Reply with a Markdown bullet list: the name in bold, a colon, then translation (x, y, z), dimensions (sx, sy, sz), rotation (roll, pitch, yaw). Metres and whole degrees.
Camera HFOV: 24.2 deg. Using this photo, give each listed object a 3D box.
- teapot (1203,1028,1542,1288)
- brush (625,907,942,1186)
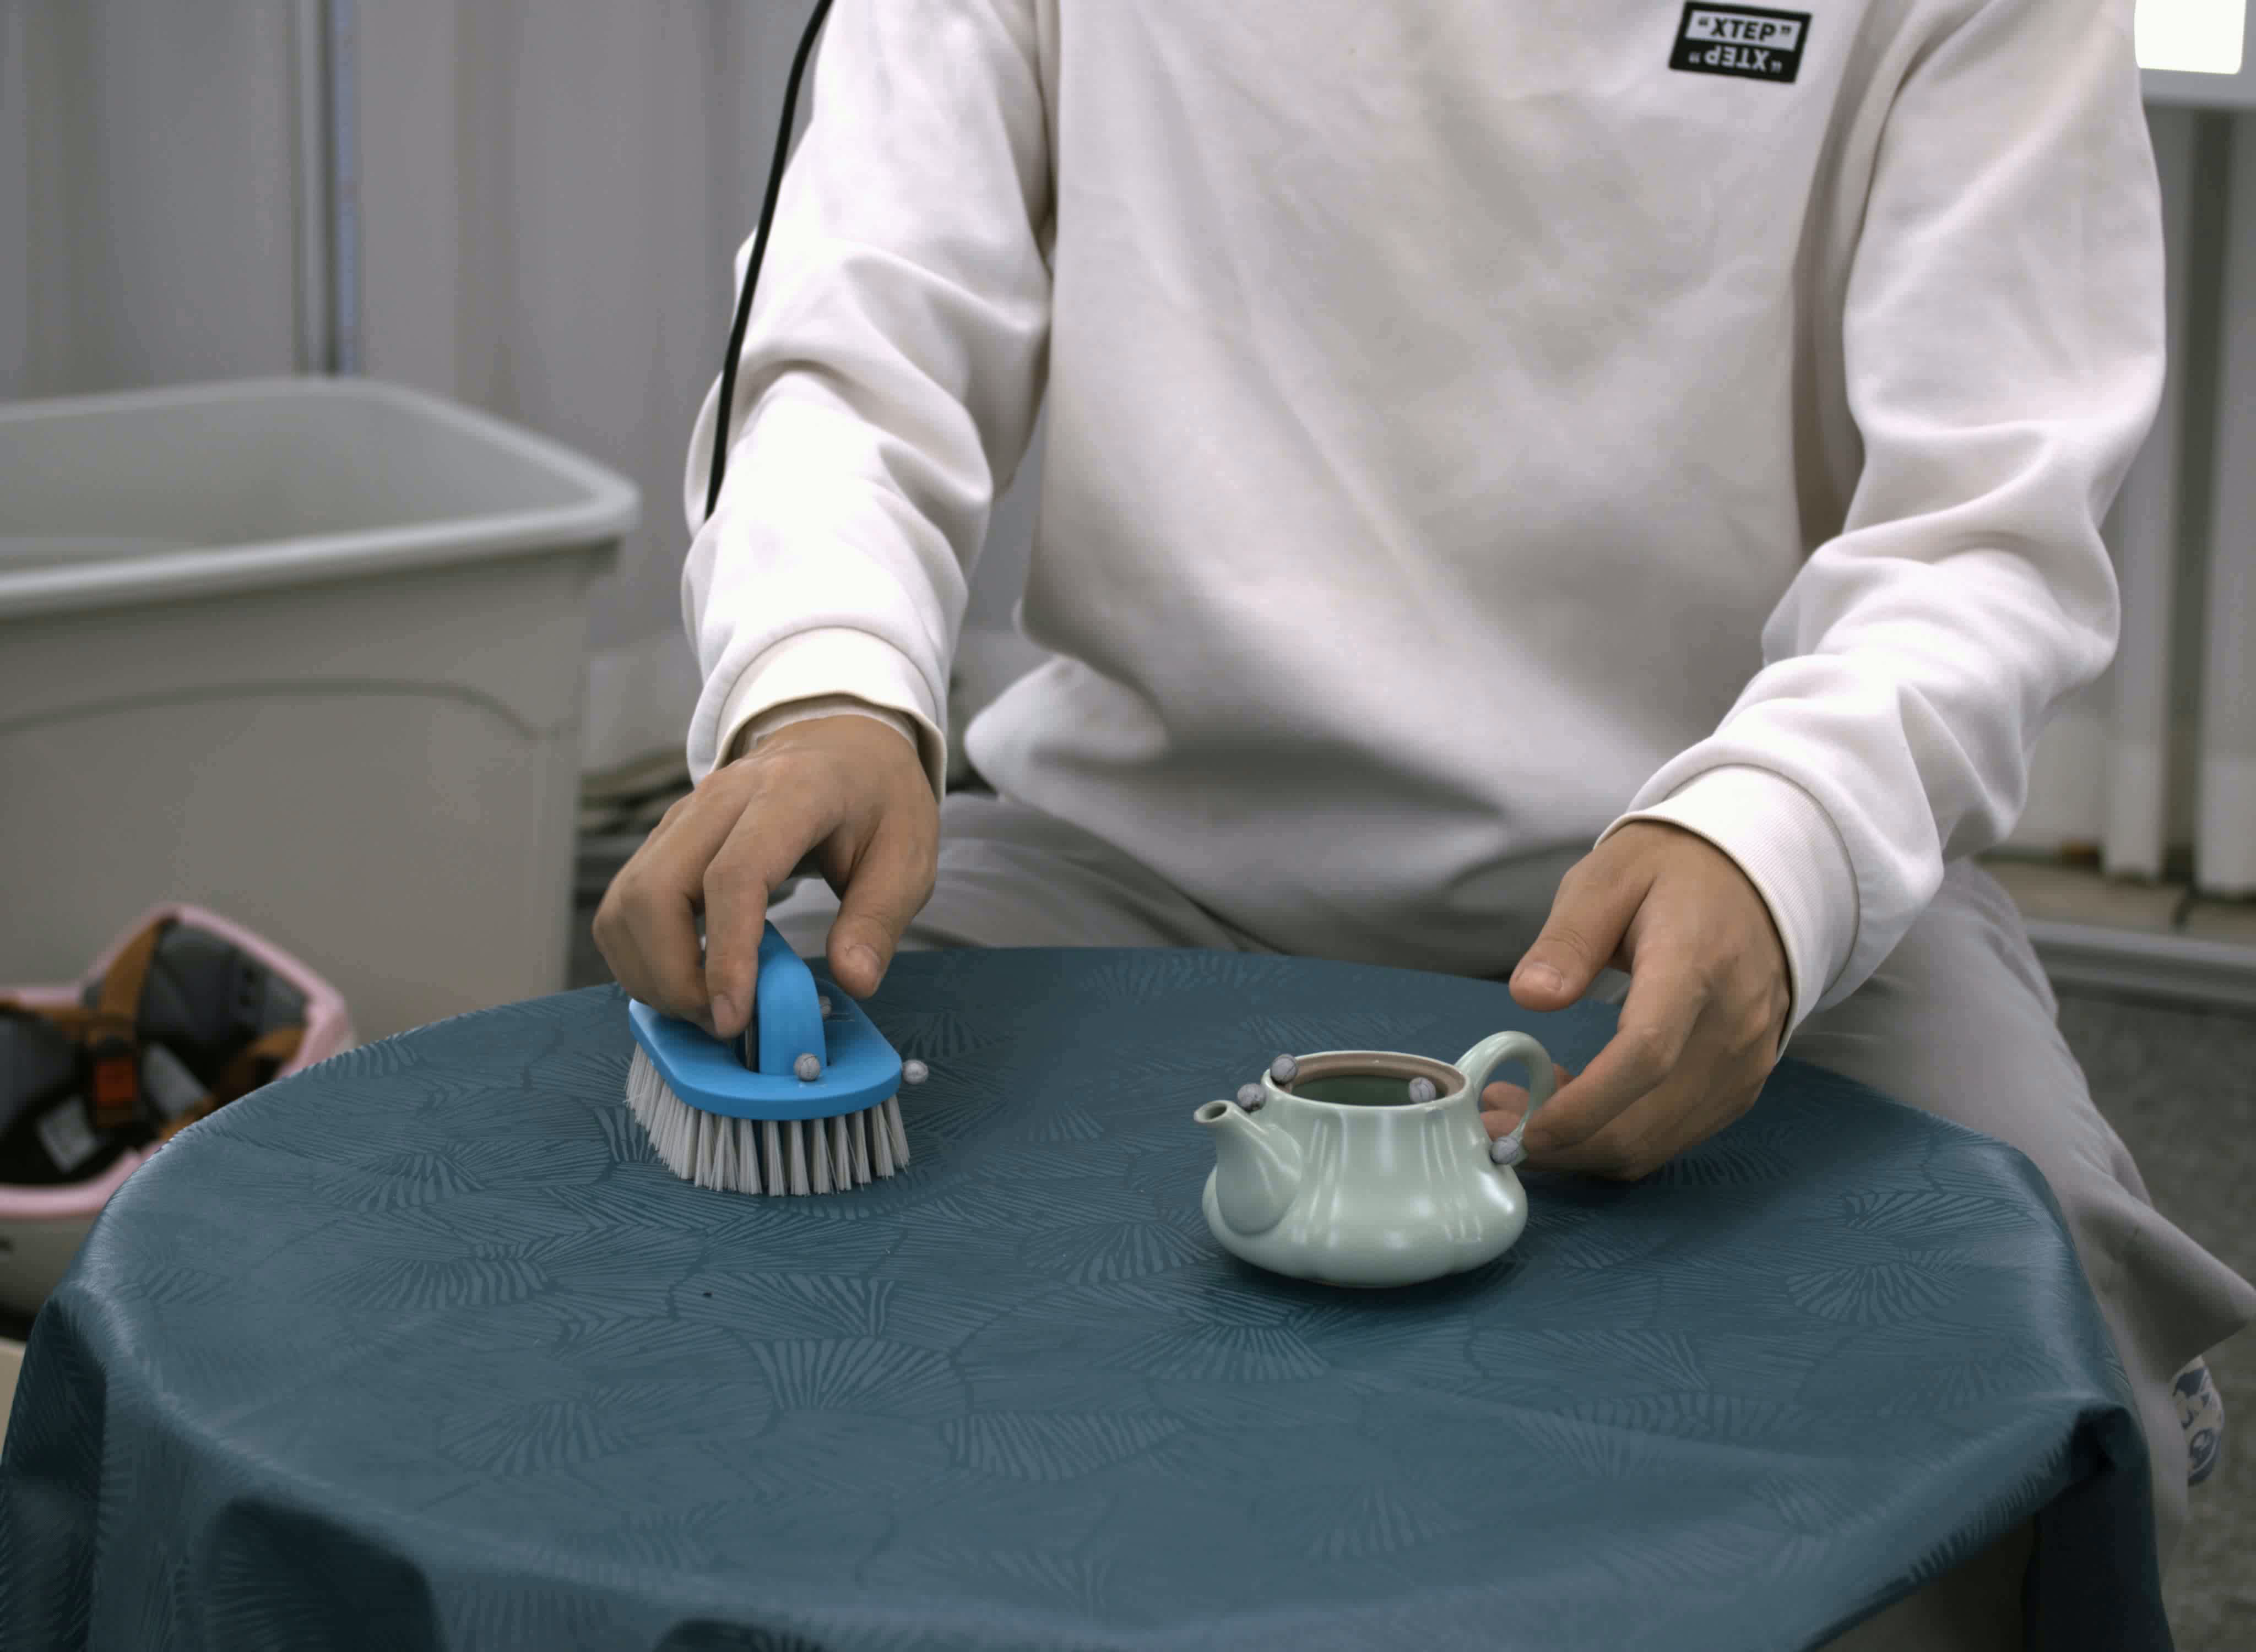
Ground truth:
- **teapot**: translation (0.074, 0.100, 1.567), dimensions (0.137, 0.062, 0.095), rotation (-12, 18, -39)
- **brush**: translation (-0.113, 0.064, 1.678), dimensions (0.084, 0.064, 0.140), rotation (-10, 17, -18)
